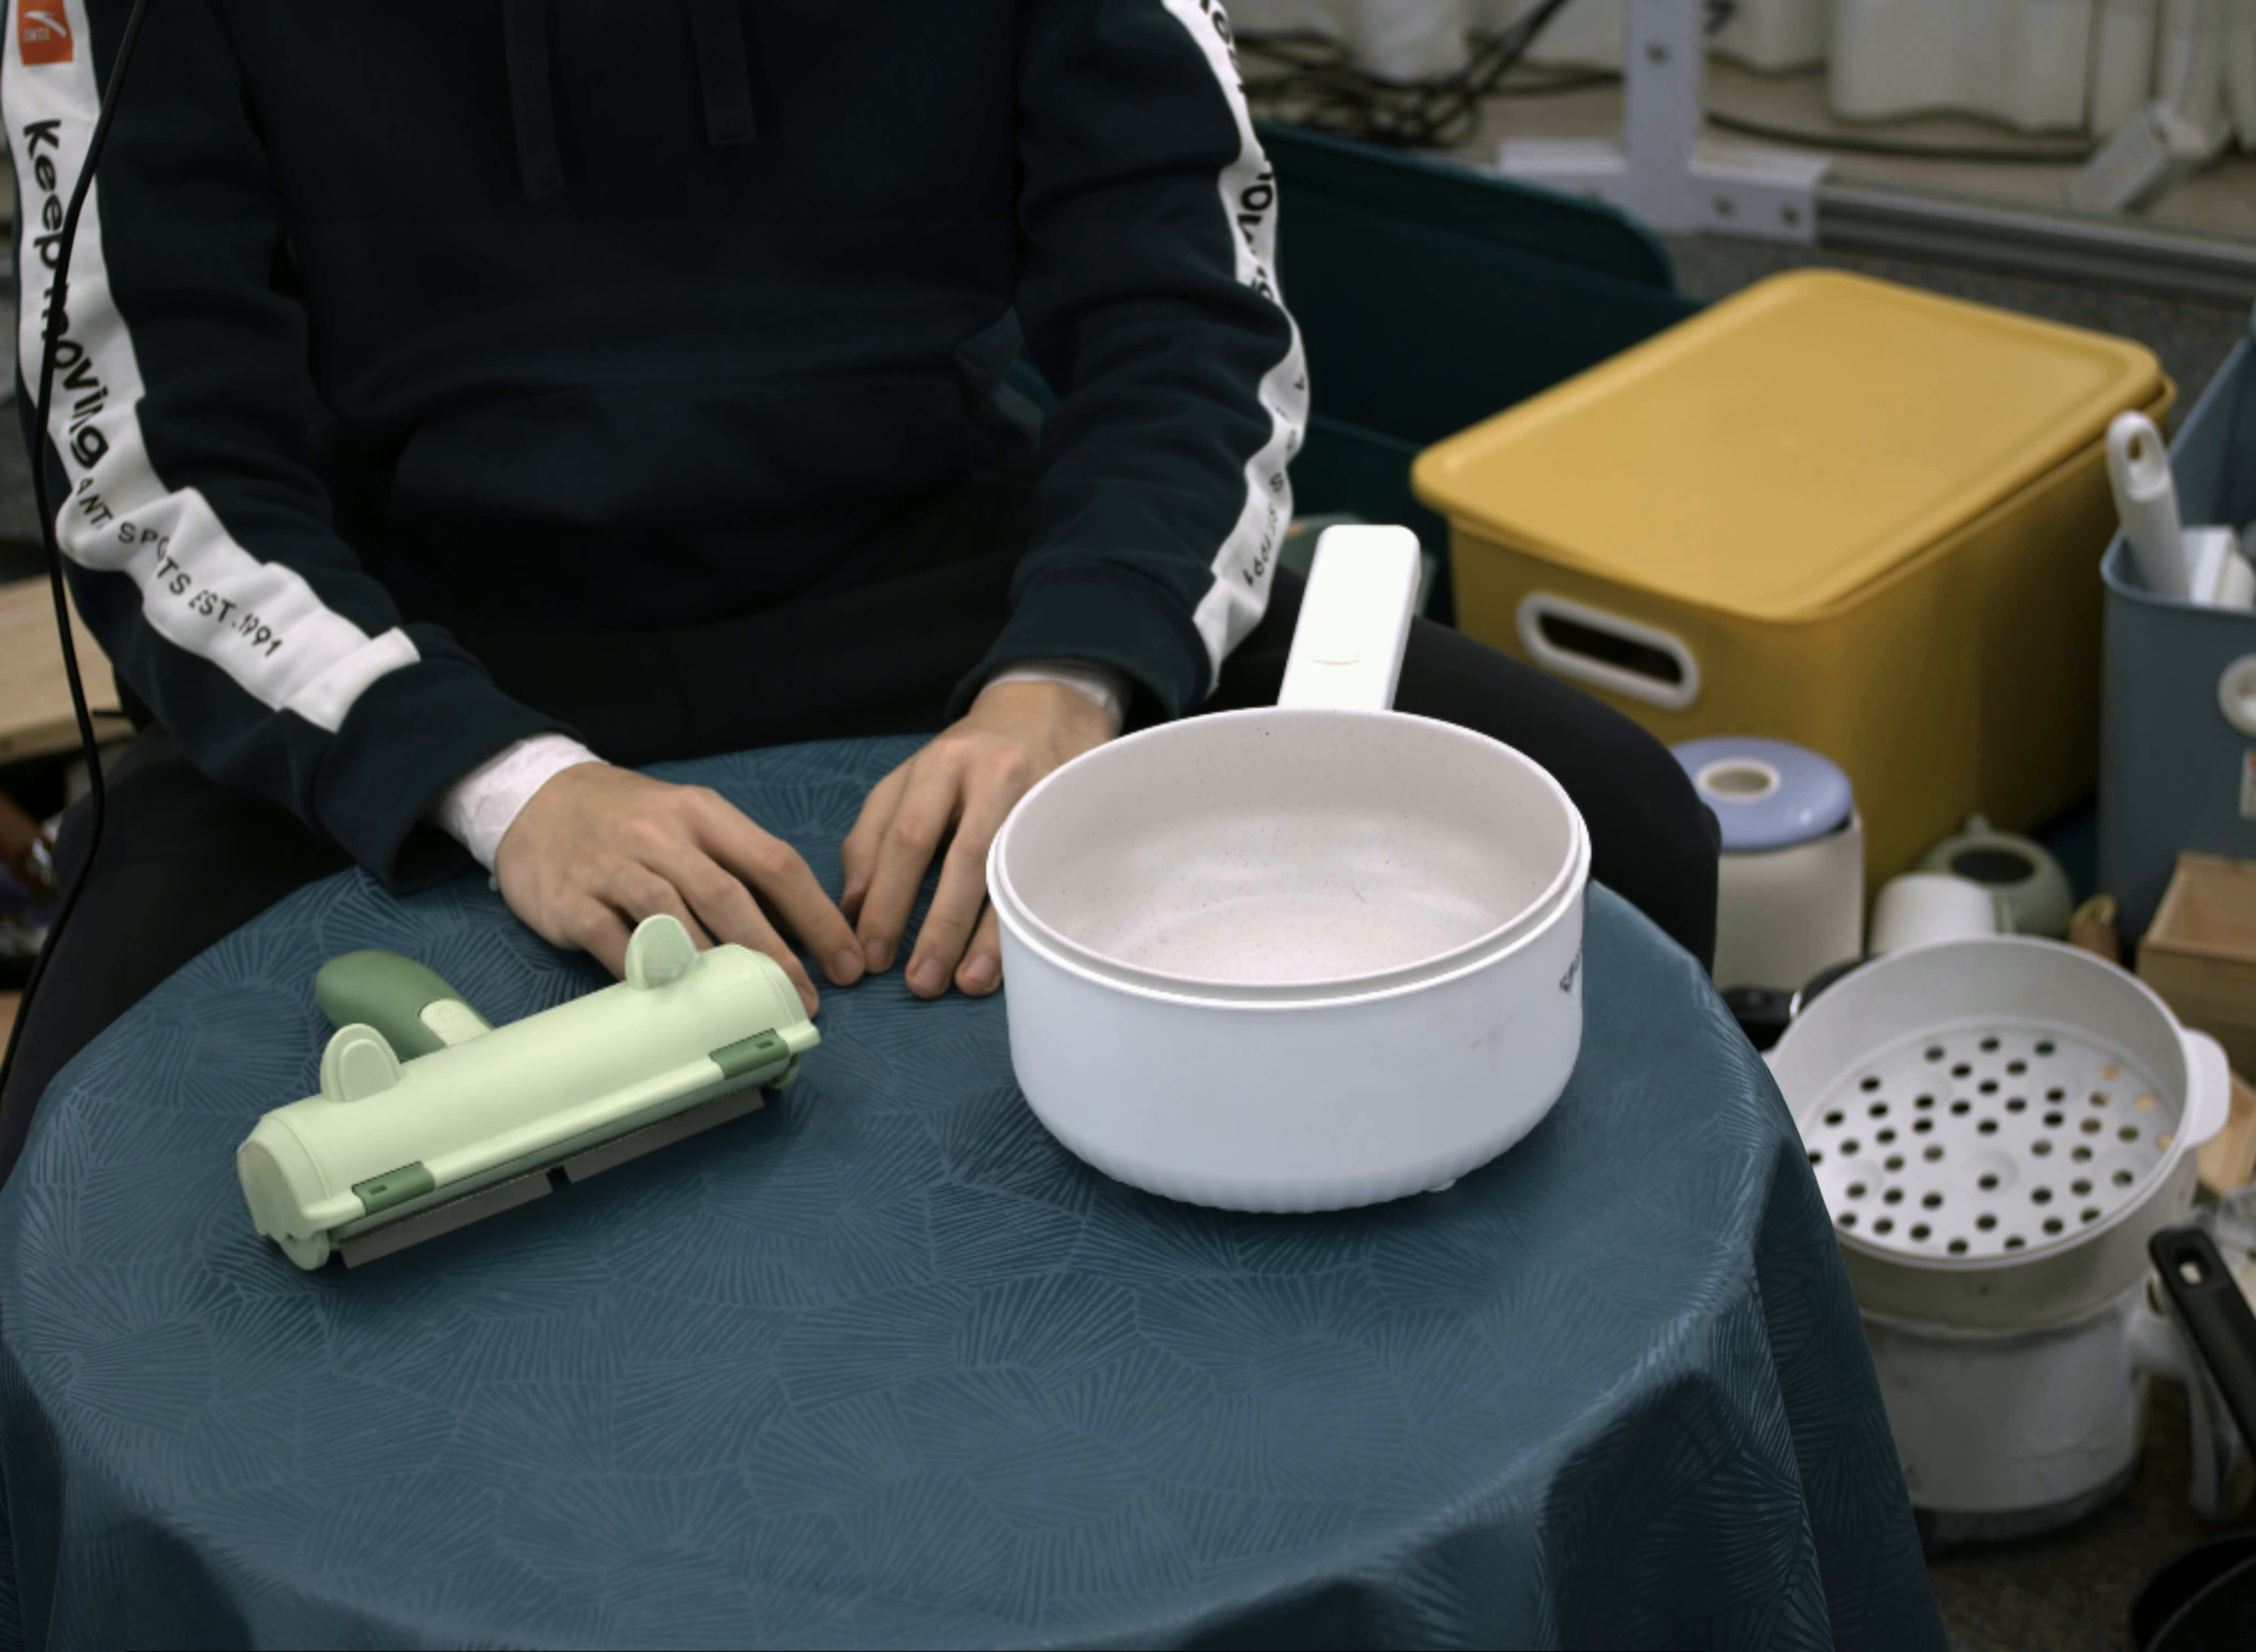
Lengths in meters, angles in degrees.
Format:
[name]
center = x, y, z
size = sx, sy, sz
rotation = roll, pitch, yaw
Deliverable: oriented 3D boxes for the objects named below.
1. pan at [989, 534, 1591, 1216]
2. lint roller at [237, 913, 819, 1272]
[pan]
center = 0.068, 0.014, 1.955
size = 0.200, 0.101, 0.360
rotation = 1, 27, 9
[lint roller]
center = -0.232, 0.064, 1.914
size = 0.200, 0.081, 0.184
rotation = -20, 37, -29
